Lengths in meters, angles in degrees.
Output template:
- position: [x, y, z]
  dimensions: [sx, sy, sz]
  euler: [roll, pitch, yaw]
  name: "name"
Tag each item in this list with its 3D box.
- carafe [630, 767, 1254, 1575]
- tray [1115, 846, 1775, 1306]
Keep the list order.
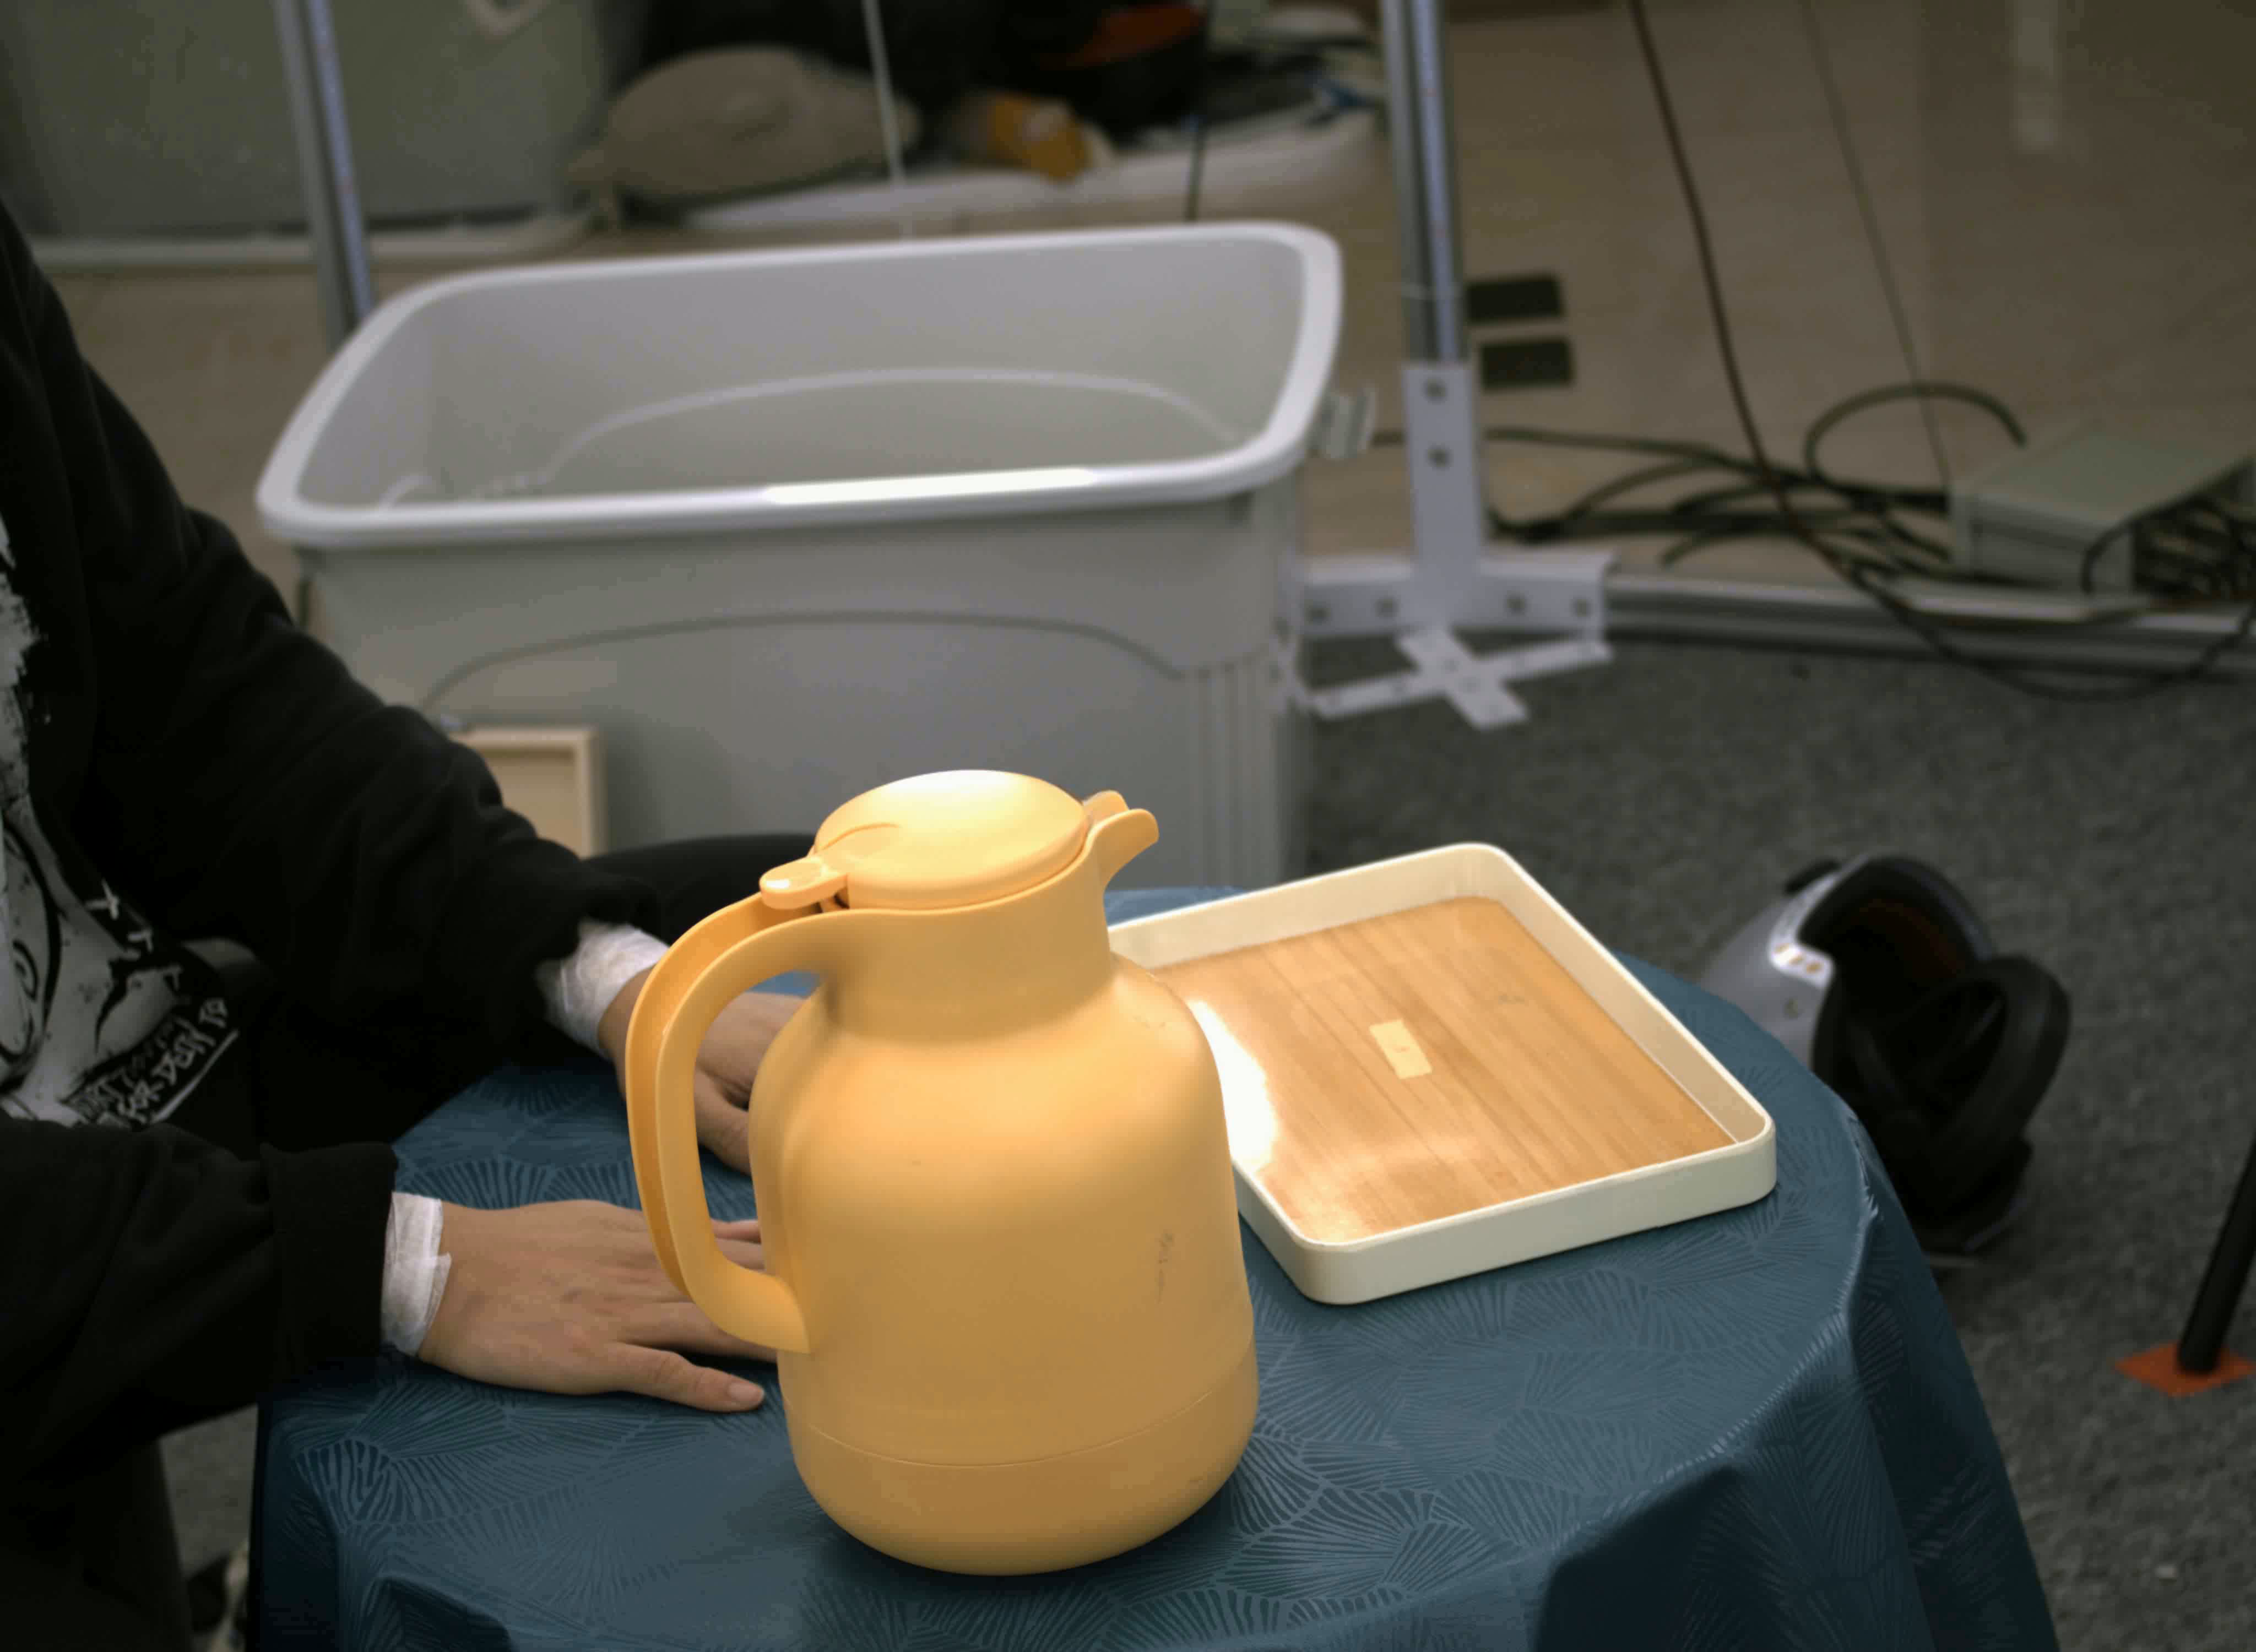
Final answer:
- position: [-0.064, 0.116, 1.901]
  dimensions: [0.201, 0.264, 0.161]
  euler: [-16, 25, -21]
  name: "carafe"
- position: [0.108, 0.092, 2.194]
  dimensions: [0.191, 0.028, 0.296]
  euler: [-13, 25, -14]
  name: "tray"
